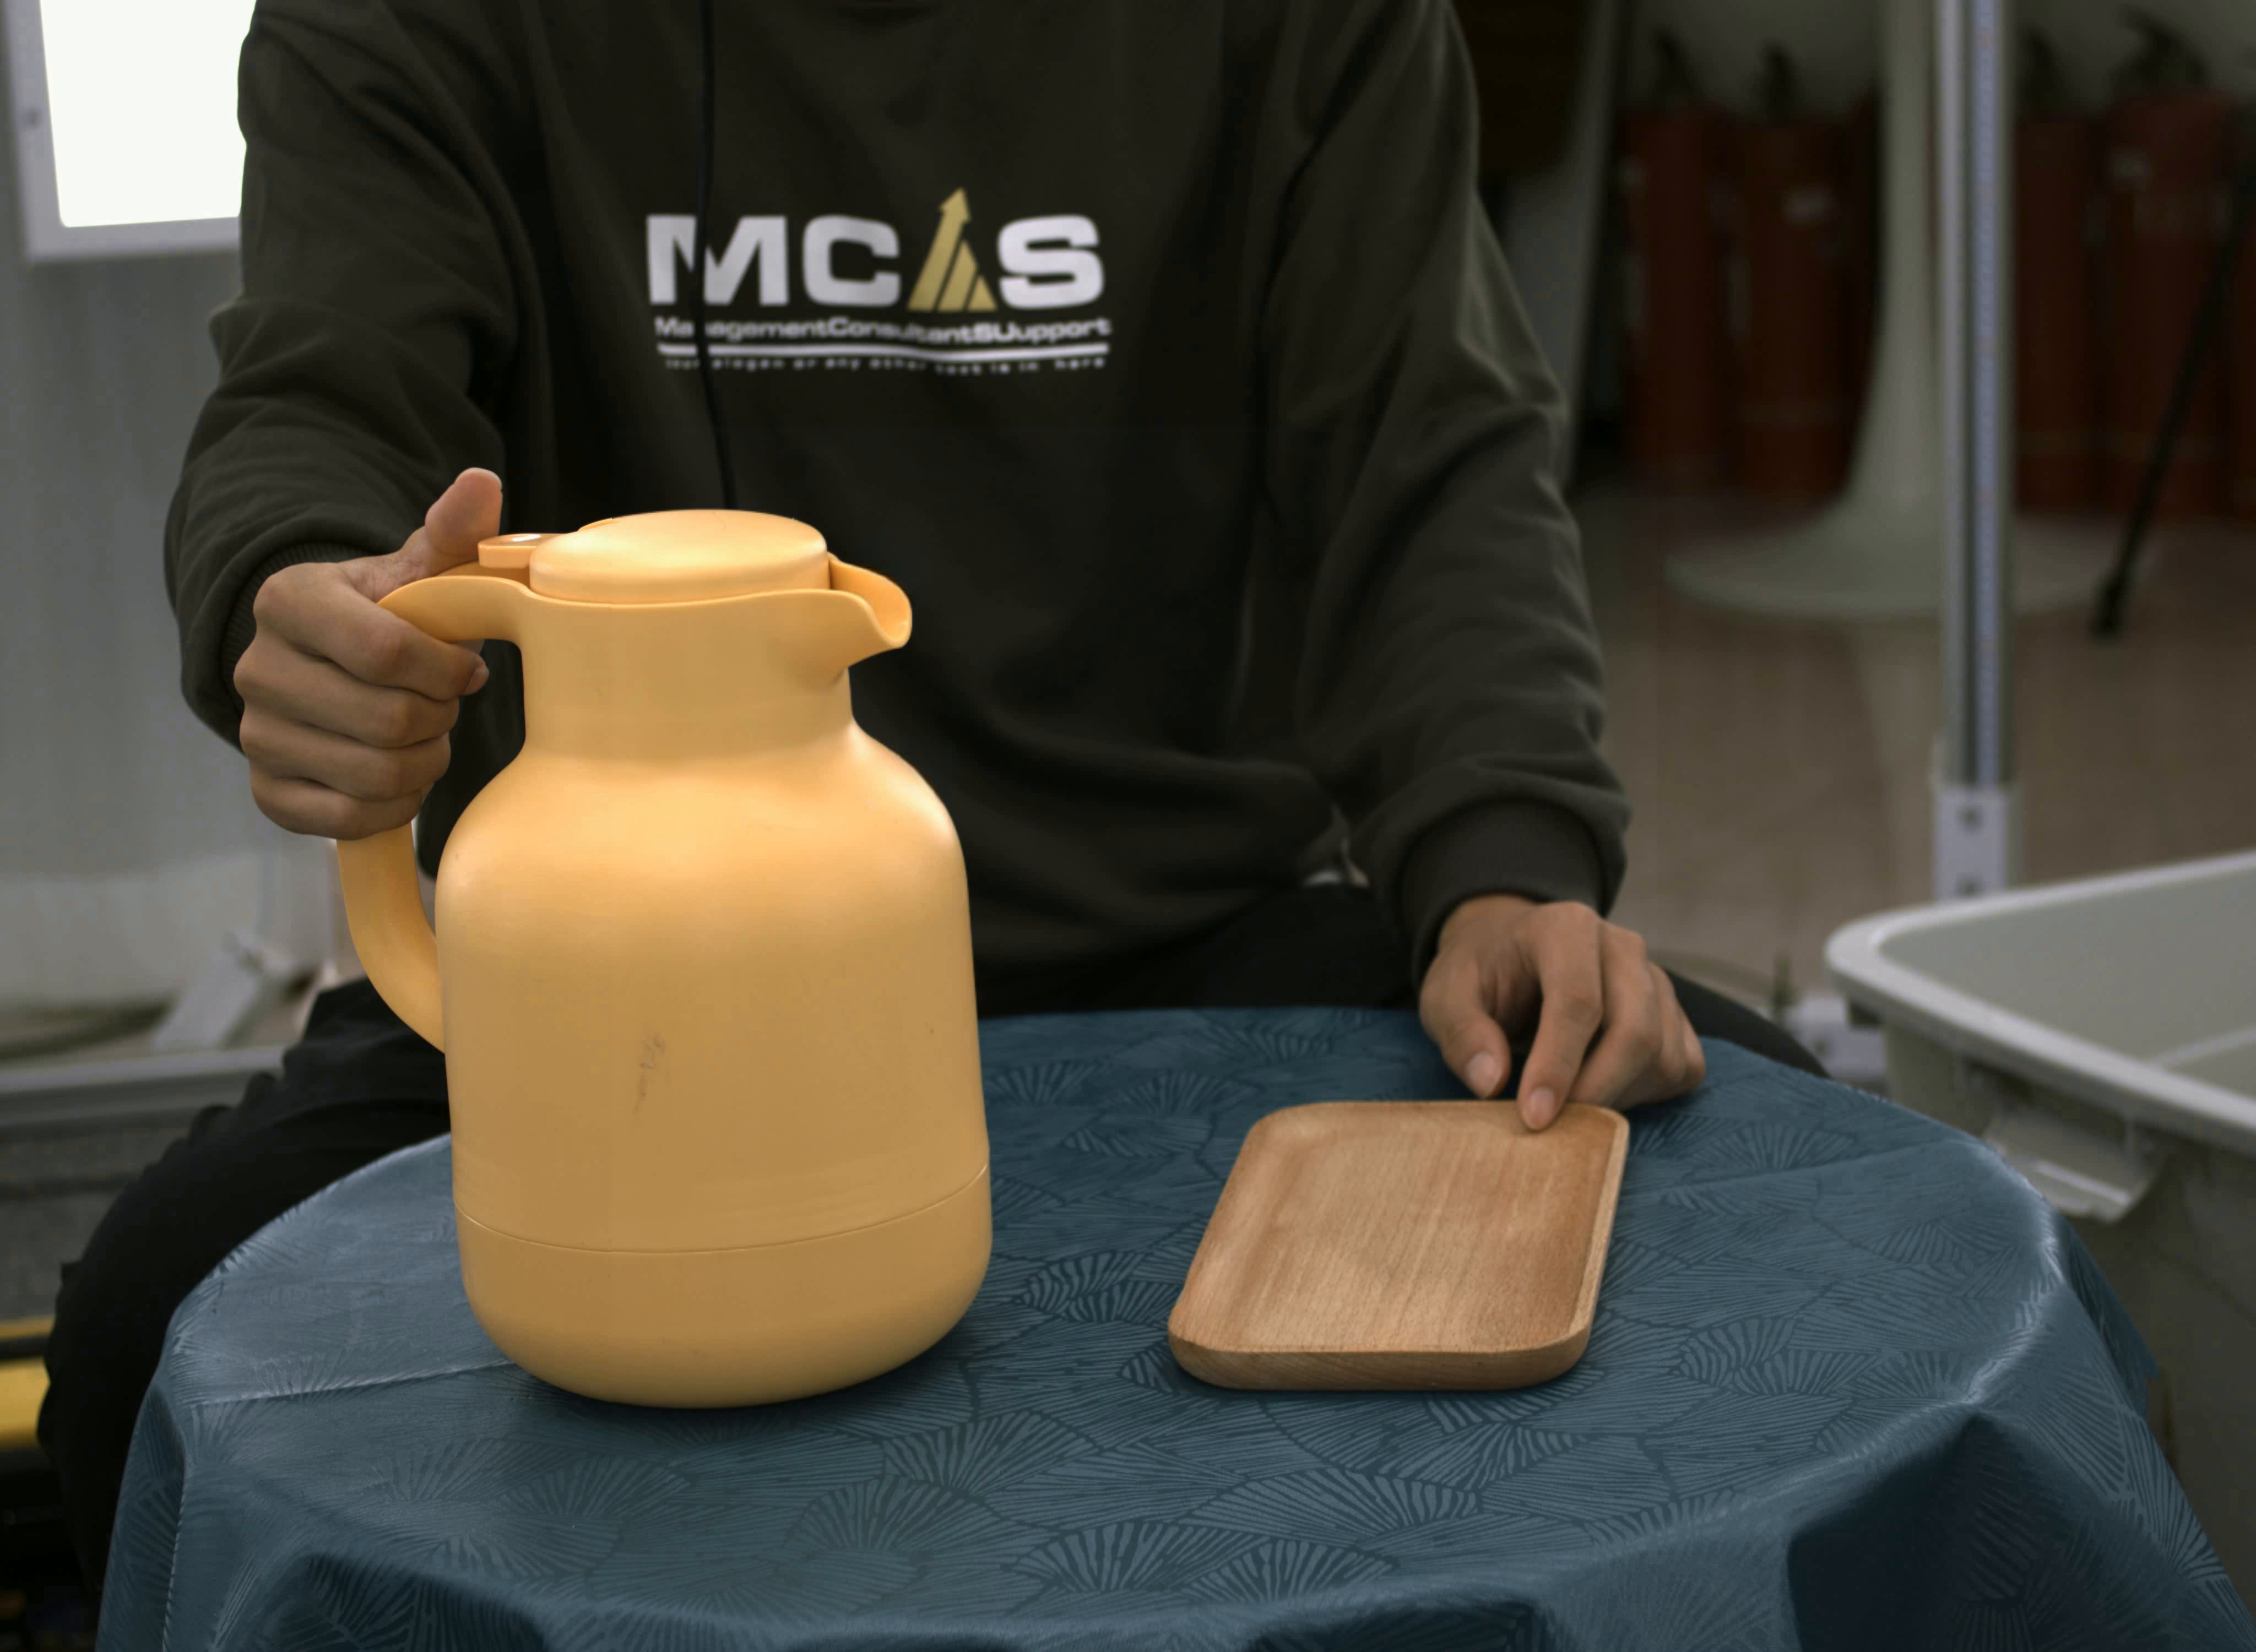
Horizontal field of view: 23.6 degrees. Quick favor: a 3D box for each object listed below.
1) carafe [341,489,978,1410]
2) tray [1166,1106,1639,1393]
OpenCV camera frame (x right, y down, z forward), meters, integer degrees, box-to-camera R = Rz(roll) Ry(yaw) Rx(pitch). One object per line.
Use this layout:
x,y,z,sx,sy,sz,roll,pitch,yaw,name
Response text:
-0.143,0.031,1.624,0.203,0.263,0.161,5,12,28,carafe
0.090,0.130,1.683,0.129,0.023,0.249,1,13,10,tray
